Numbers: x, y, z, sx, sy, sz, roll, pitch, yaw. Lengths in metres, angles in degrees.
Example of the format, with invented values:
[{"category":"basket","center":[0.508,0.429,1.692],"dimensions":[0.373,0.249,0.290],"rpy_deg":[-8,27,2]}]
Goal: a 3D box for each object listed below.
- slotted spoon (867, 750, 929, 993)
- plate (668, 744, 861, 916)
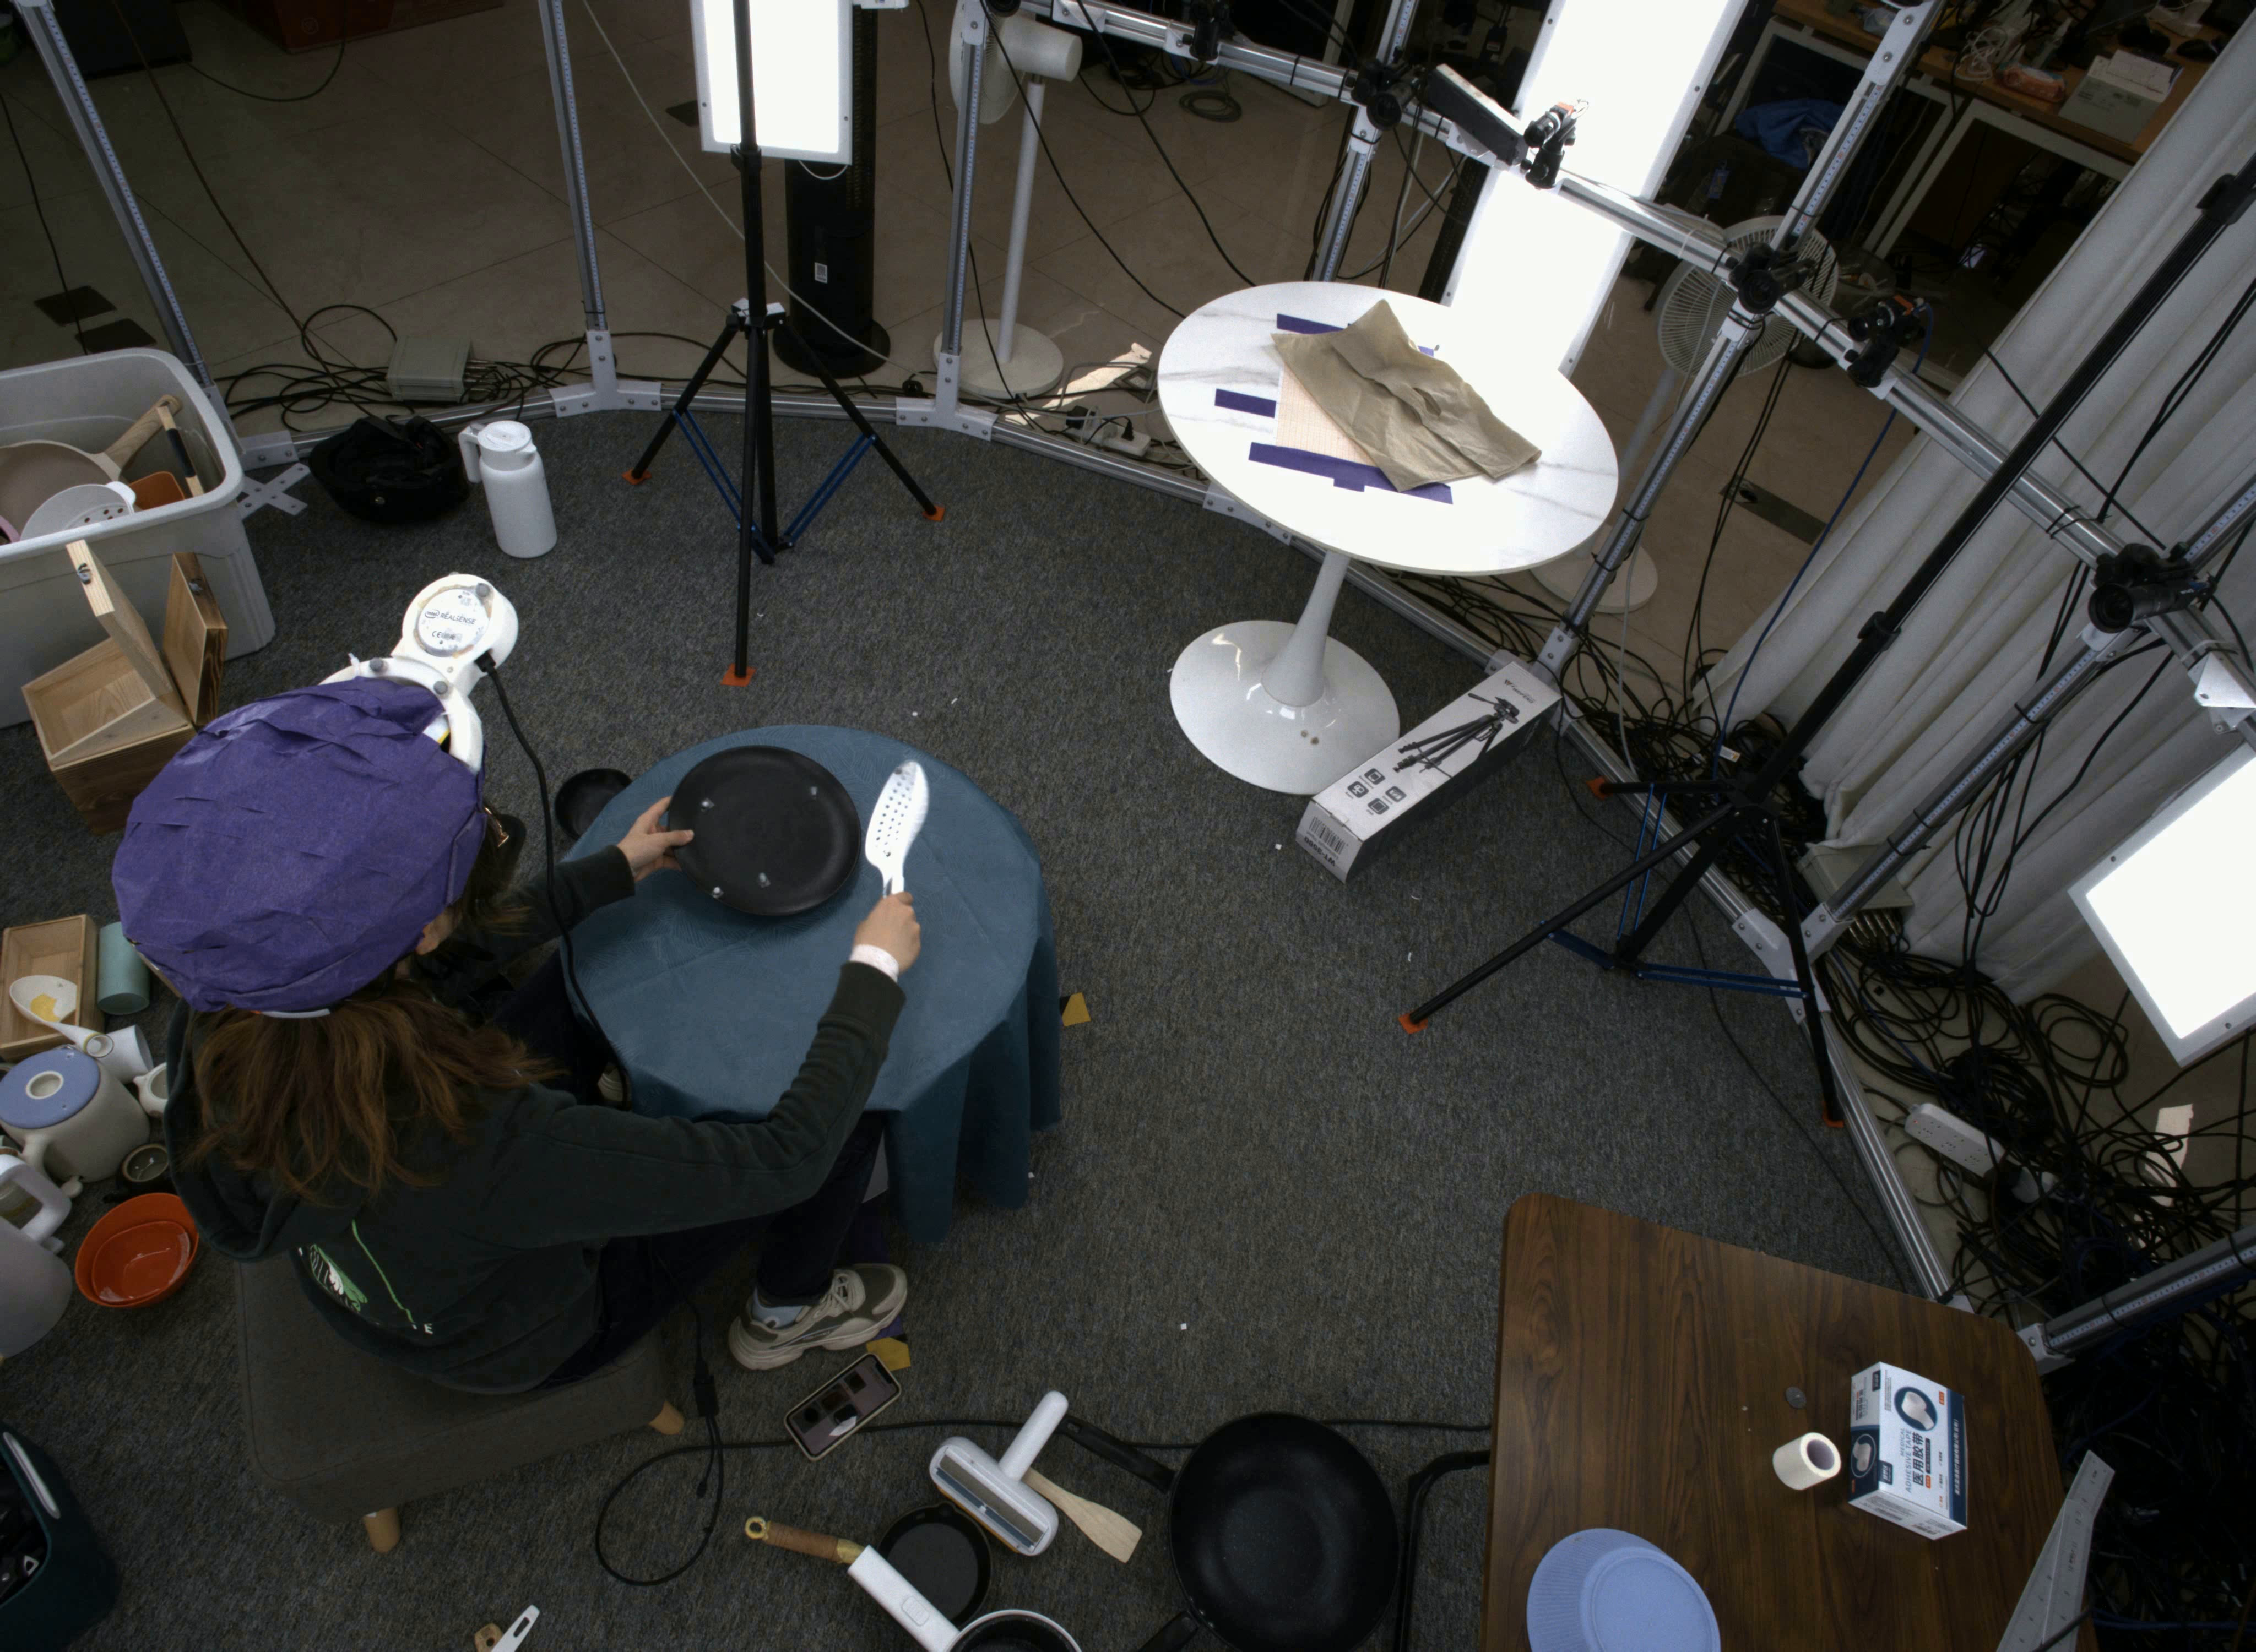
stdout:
[{"category":"slotted spoon","center":[-0.271,0.049,1.498],"dimensions":[0.046,0.136,0.342],"rpy_deg":[26,36,-22]},{"category":"plate","center":[-0.464,0.005,1.653],"dimensions":[0.247,0.023,0.241],"rpy_deg":[14,59,-21]}]
